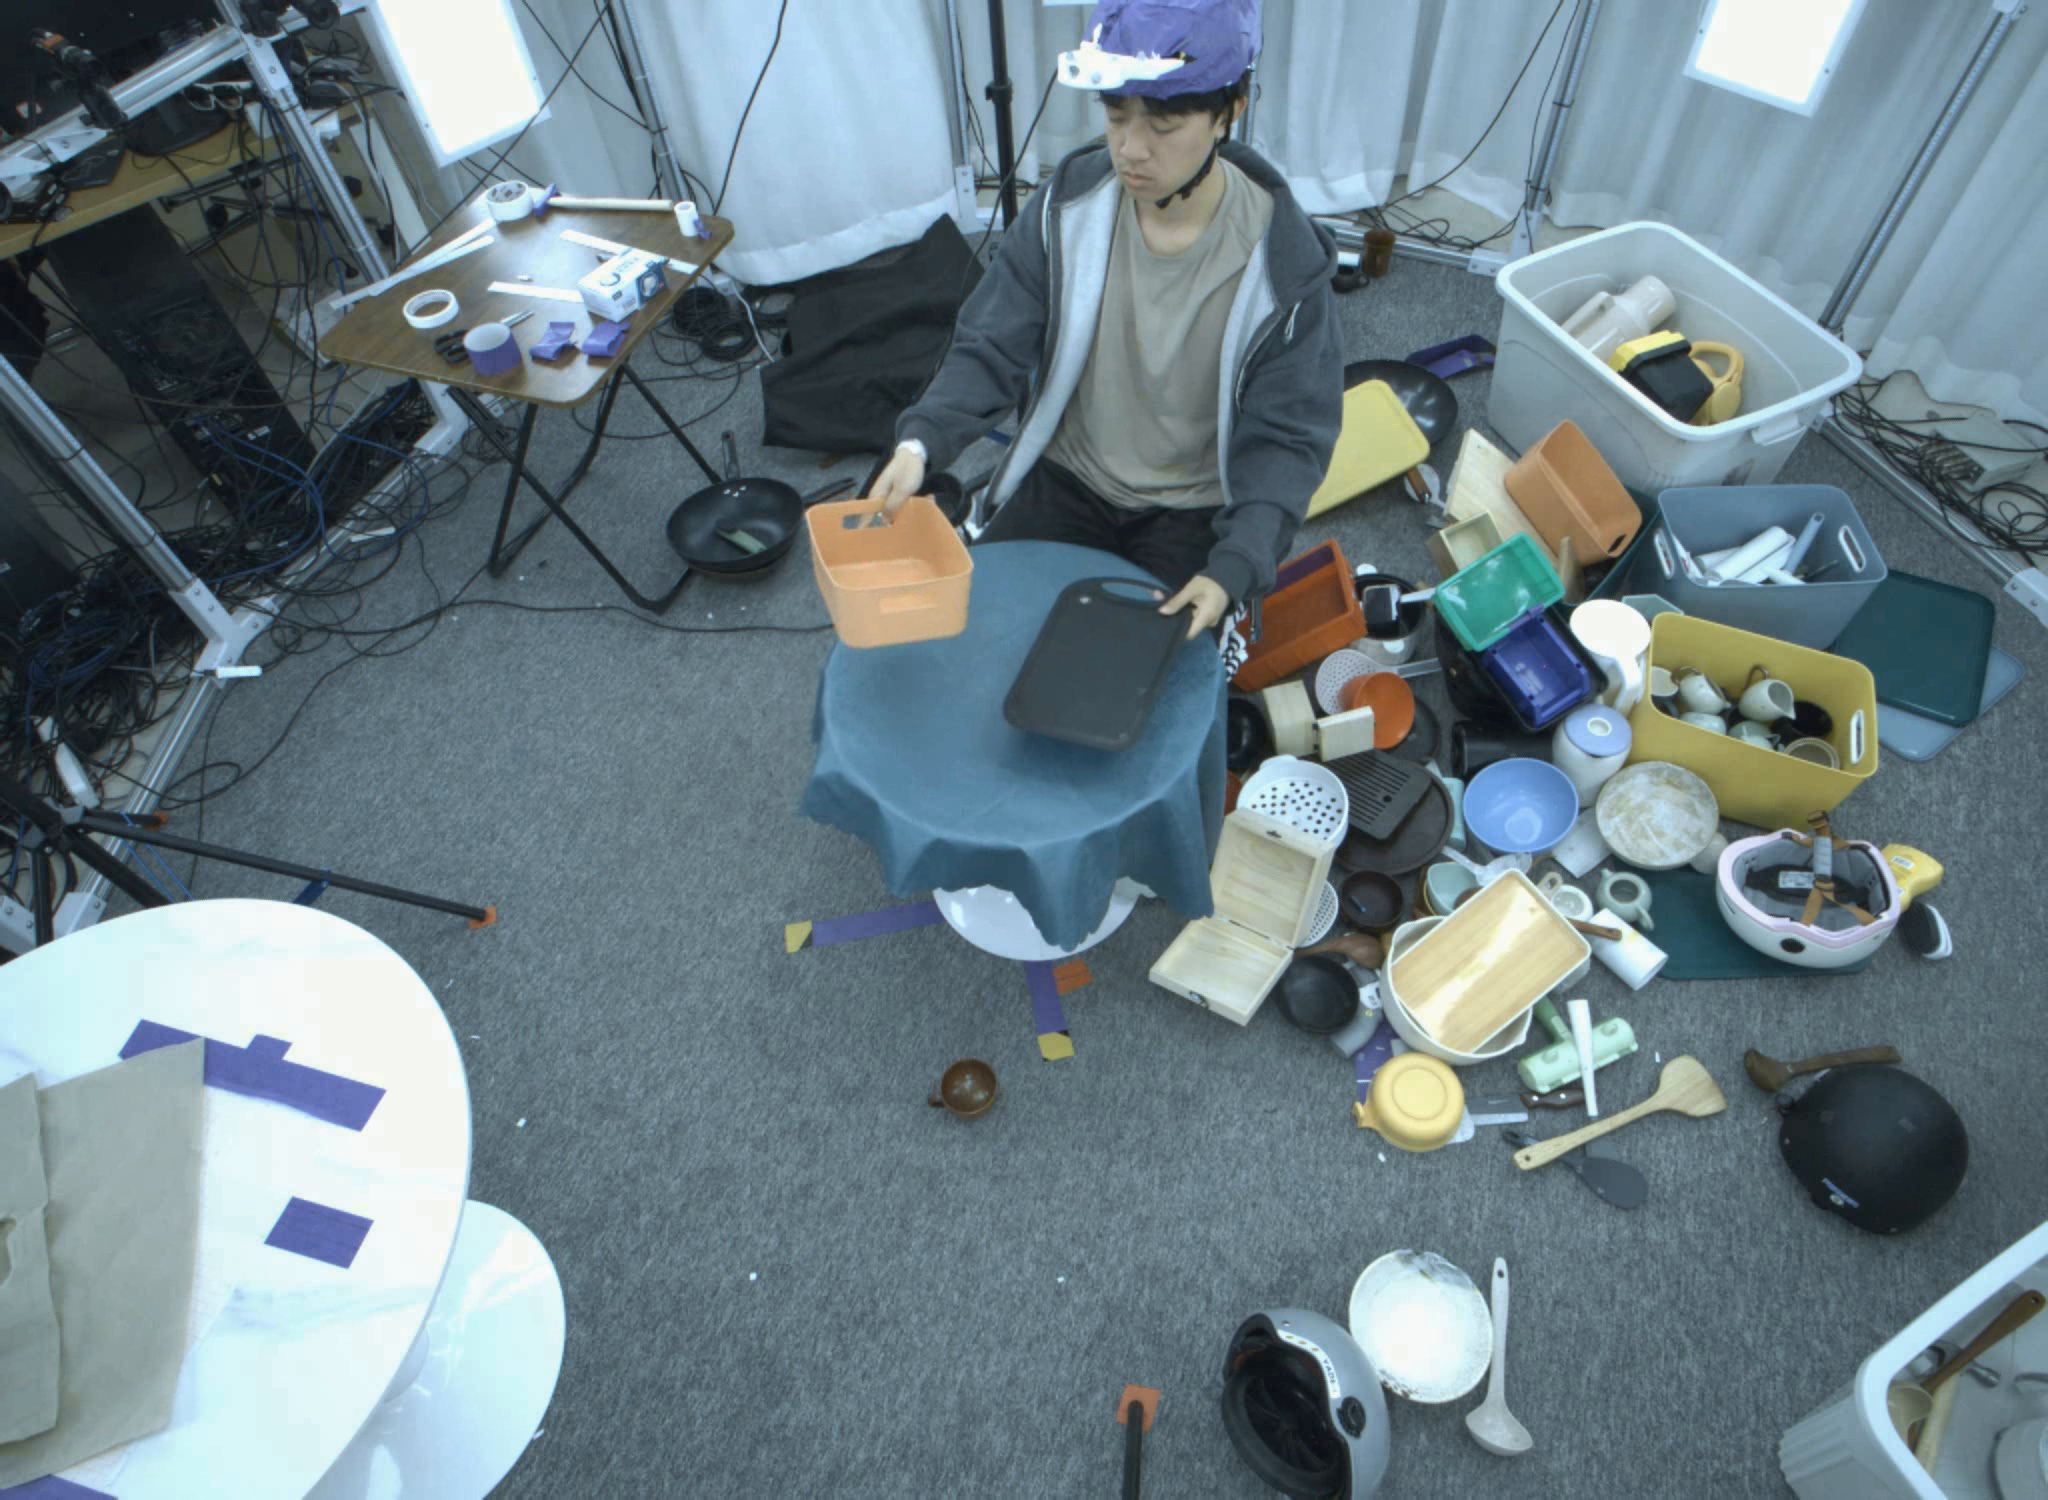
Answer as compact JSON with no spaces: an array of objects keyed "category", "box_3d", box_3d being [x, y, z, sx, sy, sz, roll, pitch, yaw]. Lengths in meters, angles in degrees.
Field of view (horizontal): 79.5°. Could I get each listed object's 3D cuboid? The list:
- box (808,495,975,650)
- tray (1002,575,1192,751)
[{"category":"box","box_3d":[-0.186,-0.247,1.683,0.201,0.103,0.268,-10,39,-16]},{"category":"tray","box_3d":[0.111,-0.139,1.783,0.208,0.010,0.325,15,56,16]}]
